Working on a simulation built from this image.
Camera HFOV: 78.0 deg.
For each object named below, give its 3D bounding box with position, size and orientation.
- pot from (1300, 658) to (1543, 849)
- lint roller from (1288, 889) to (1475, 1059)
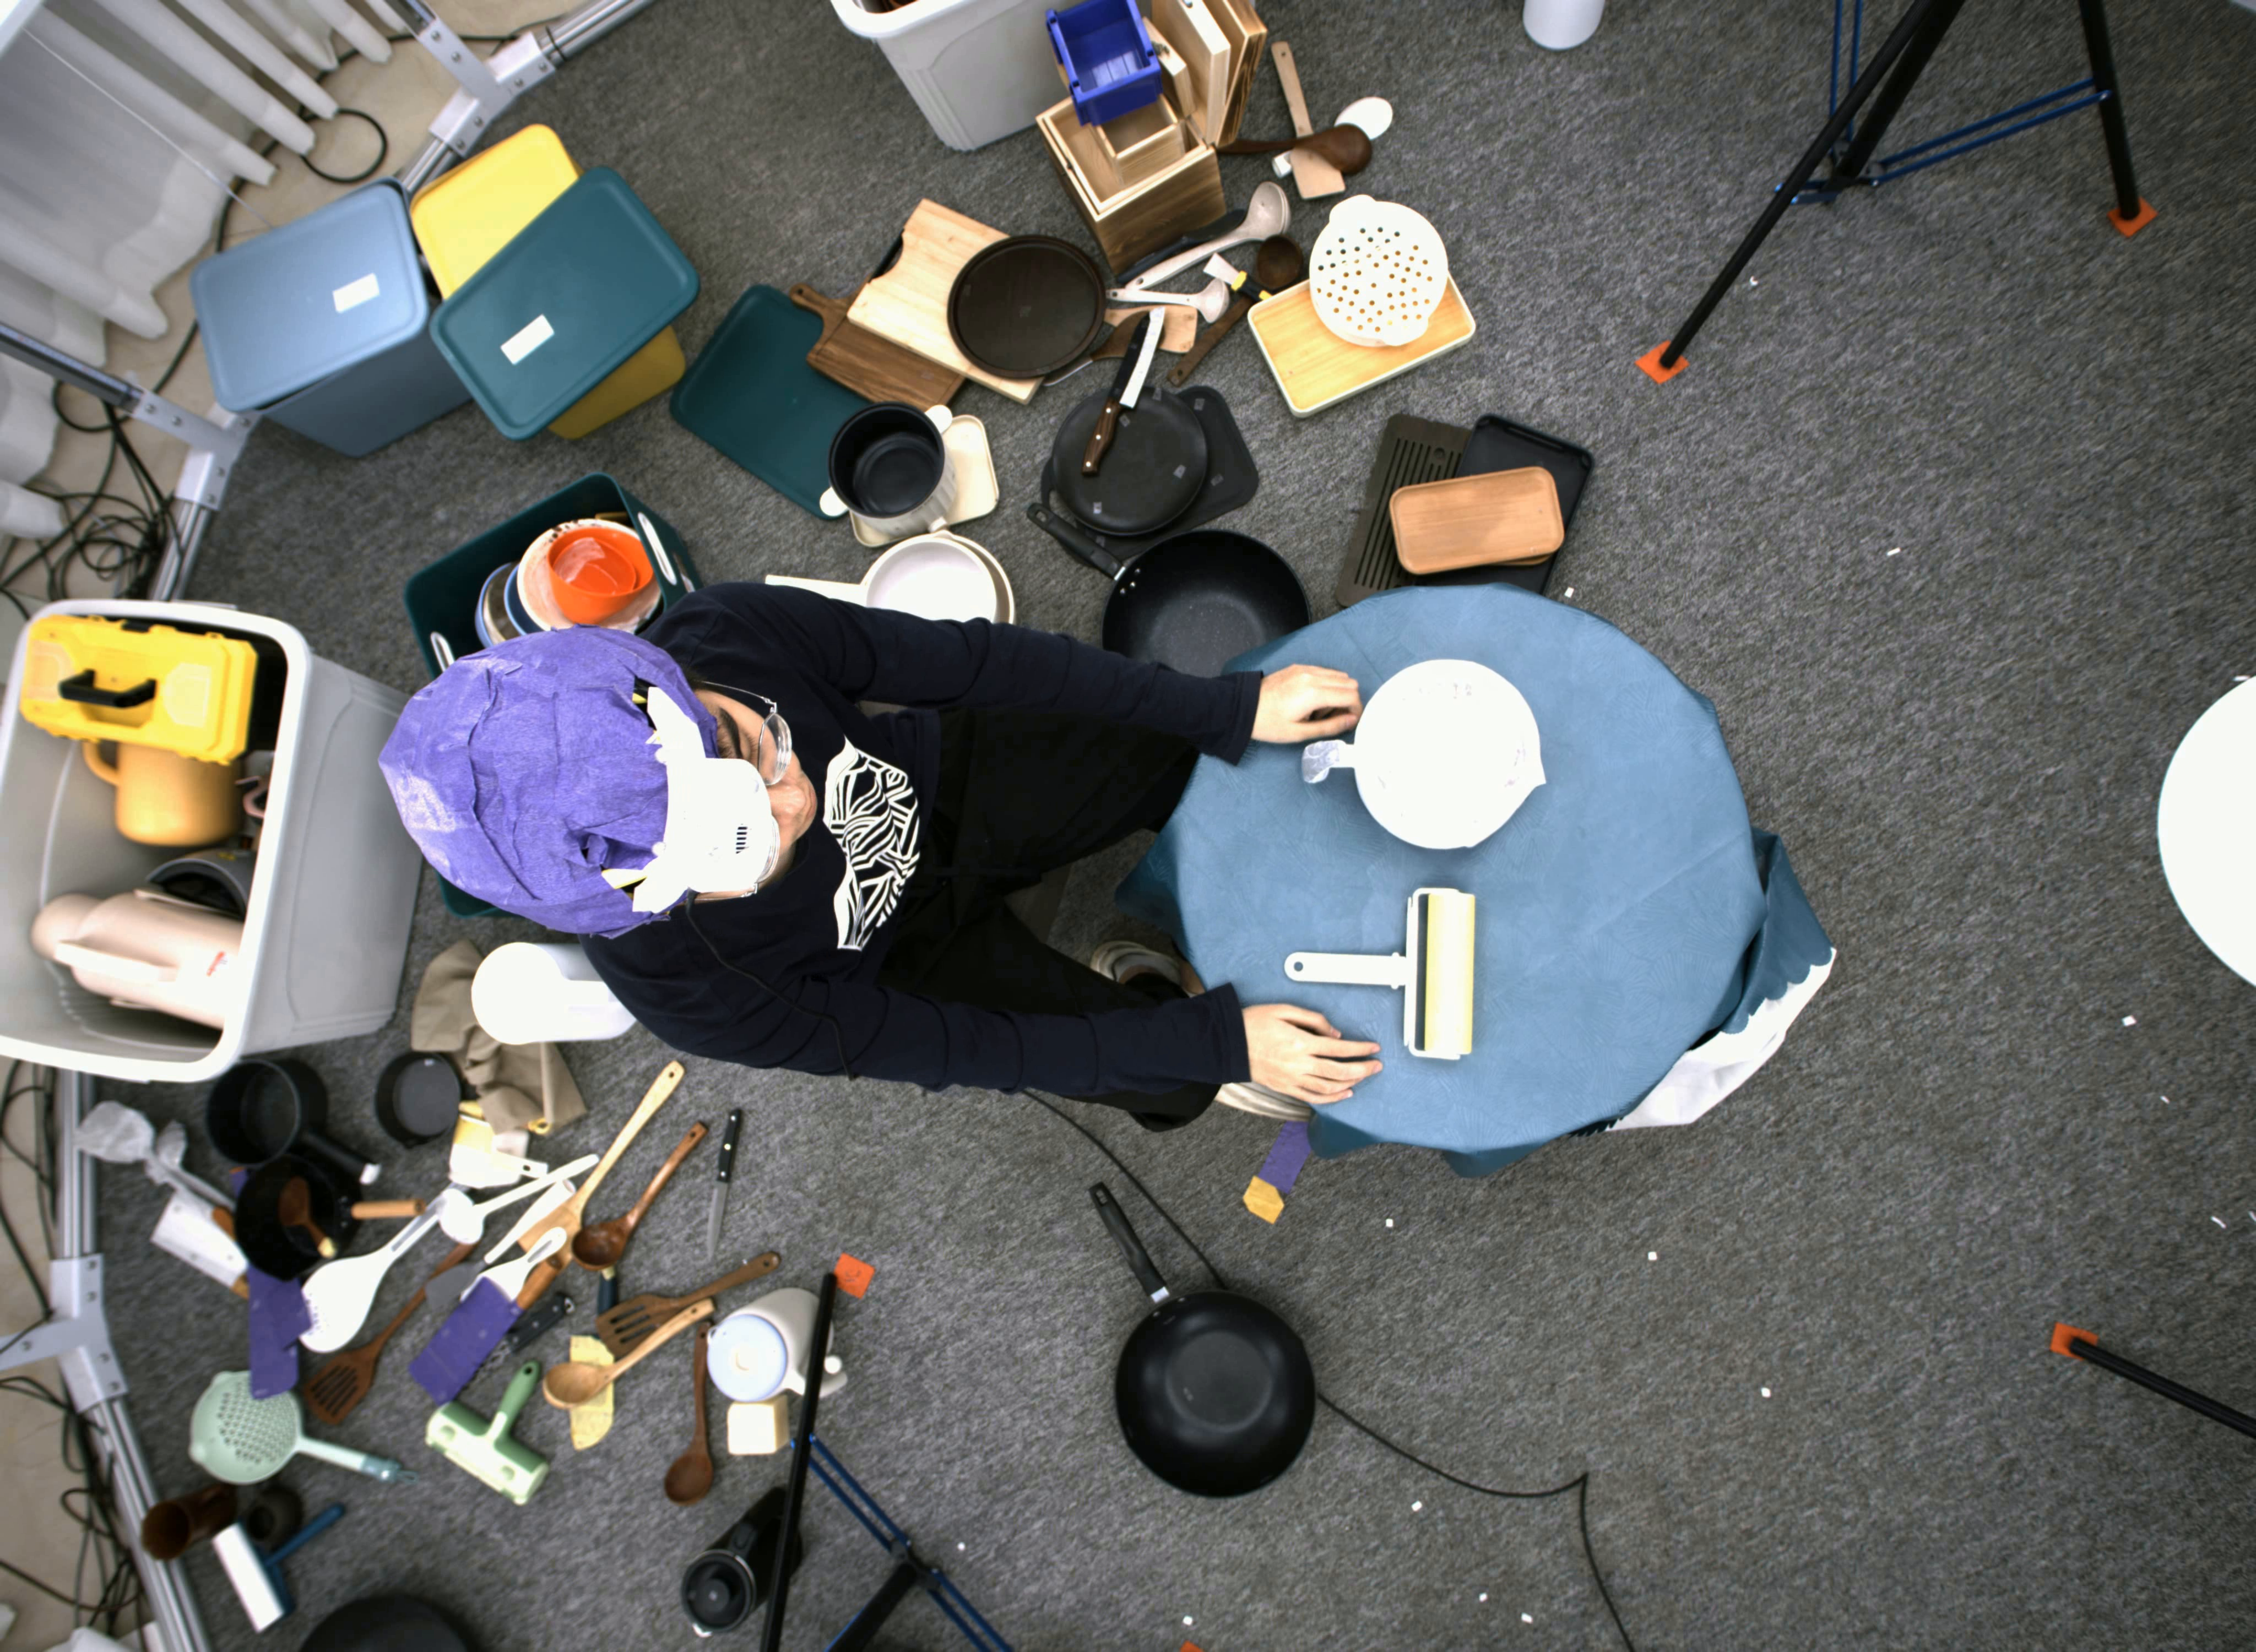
[{"bbox_3d":[0.291,-0.069,1.391,0.234,0.137,0.177,-2,84,9],"label":"pot"},{"bbox_3d":[0.262,0.150,1.433,0.193,0.051,0.173,0,86,9],"label":"lint roller"}]
